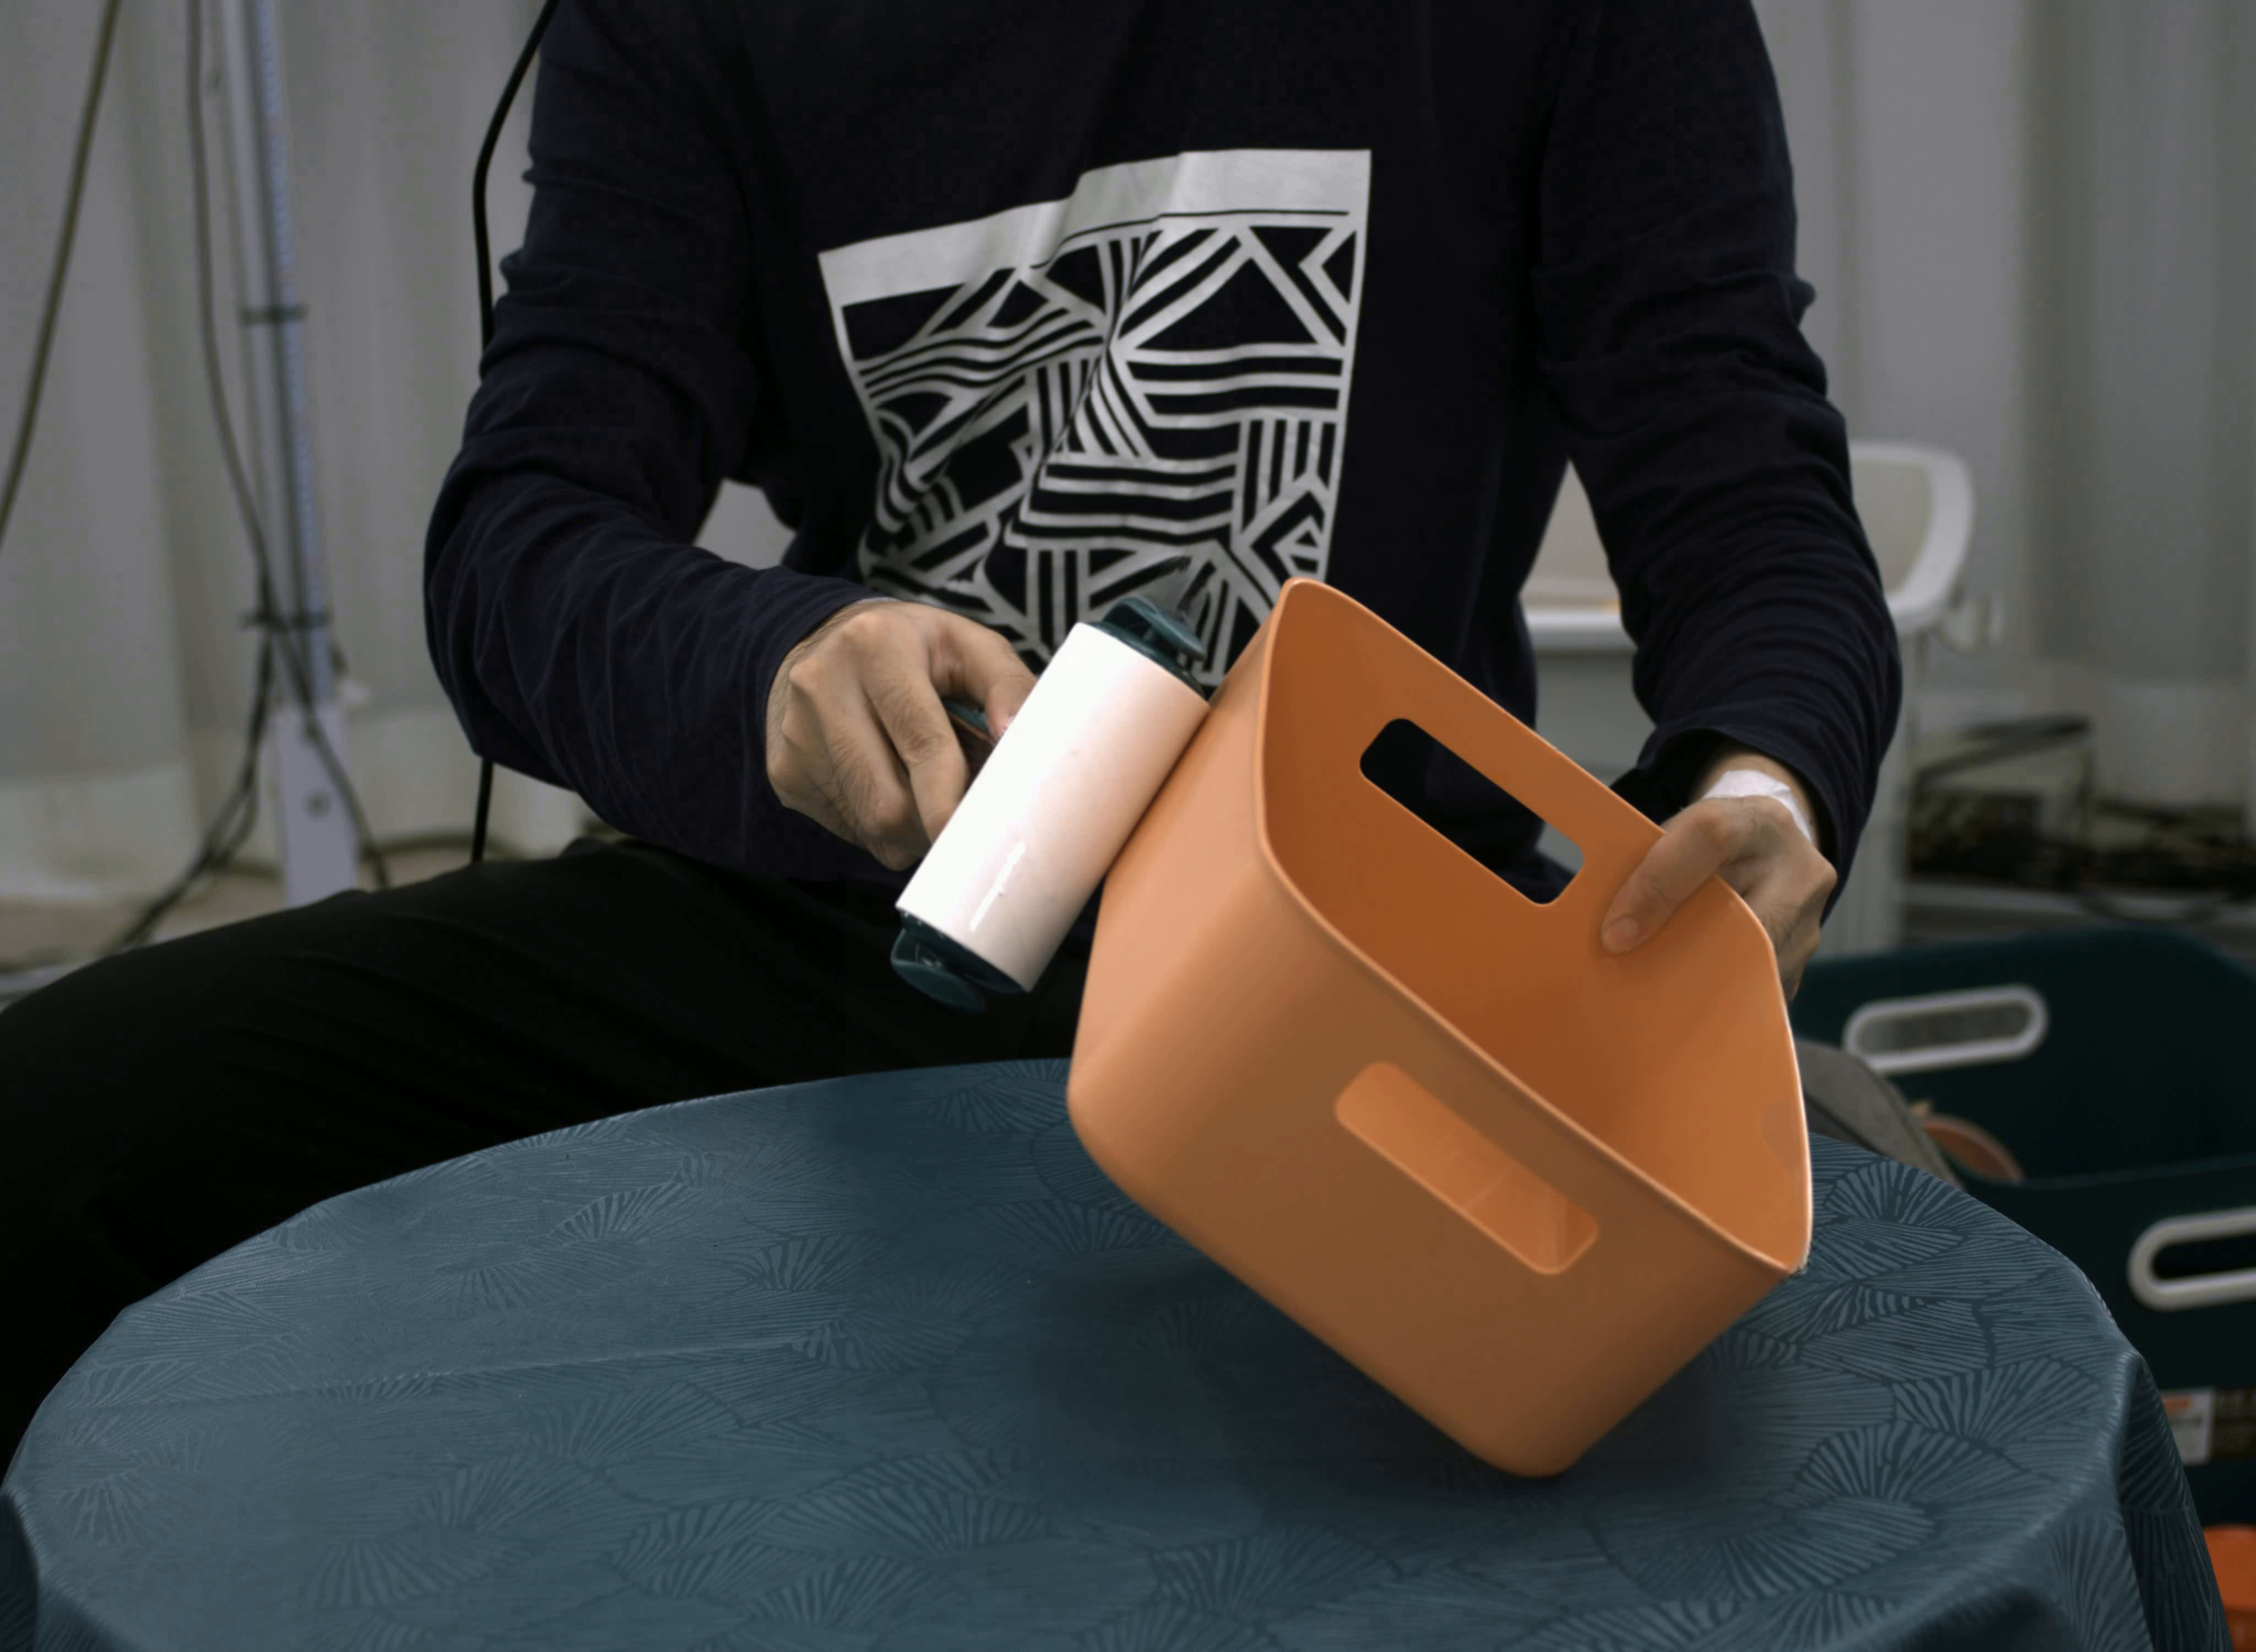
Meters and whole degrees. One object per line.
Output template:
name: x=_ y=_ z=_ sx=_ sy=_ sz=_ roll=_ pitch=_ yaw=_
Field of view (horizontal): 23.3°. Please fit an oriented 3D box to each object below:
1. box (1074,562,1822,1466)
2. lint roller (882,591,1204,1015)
box: x=0.084 y=0.052 z=1.536 sx=0.198 sy=0.102 sz=0.275 roll=37 pitch=18 yaw=-10
lint roller: x=-0.050 y=-0.017 z=1.652 sx=0.048 sy=0.135 sz=0.181 roll=35 pitch=-6 yaw=-26
